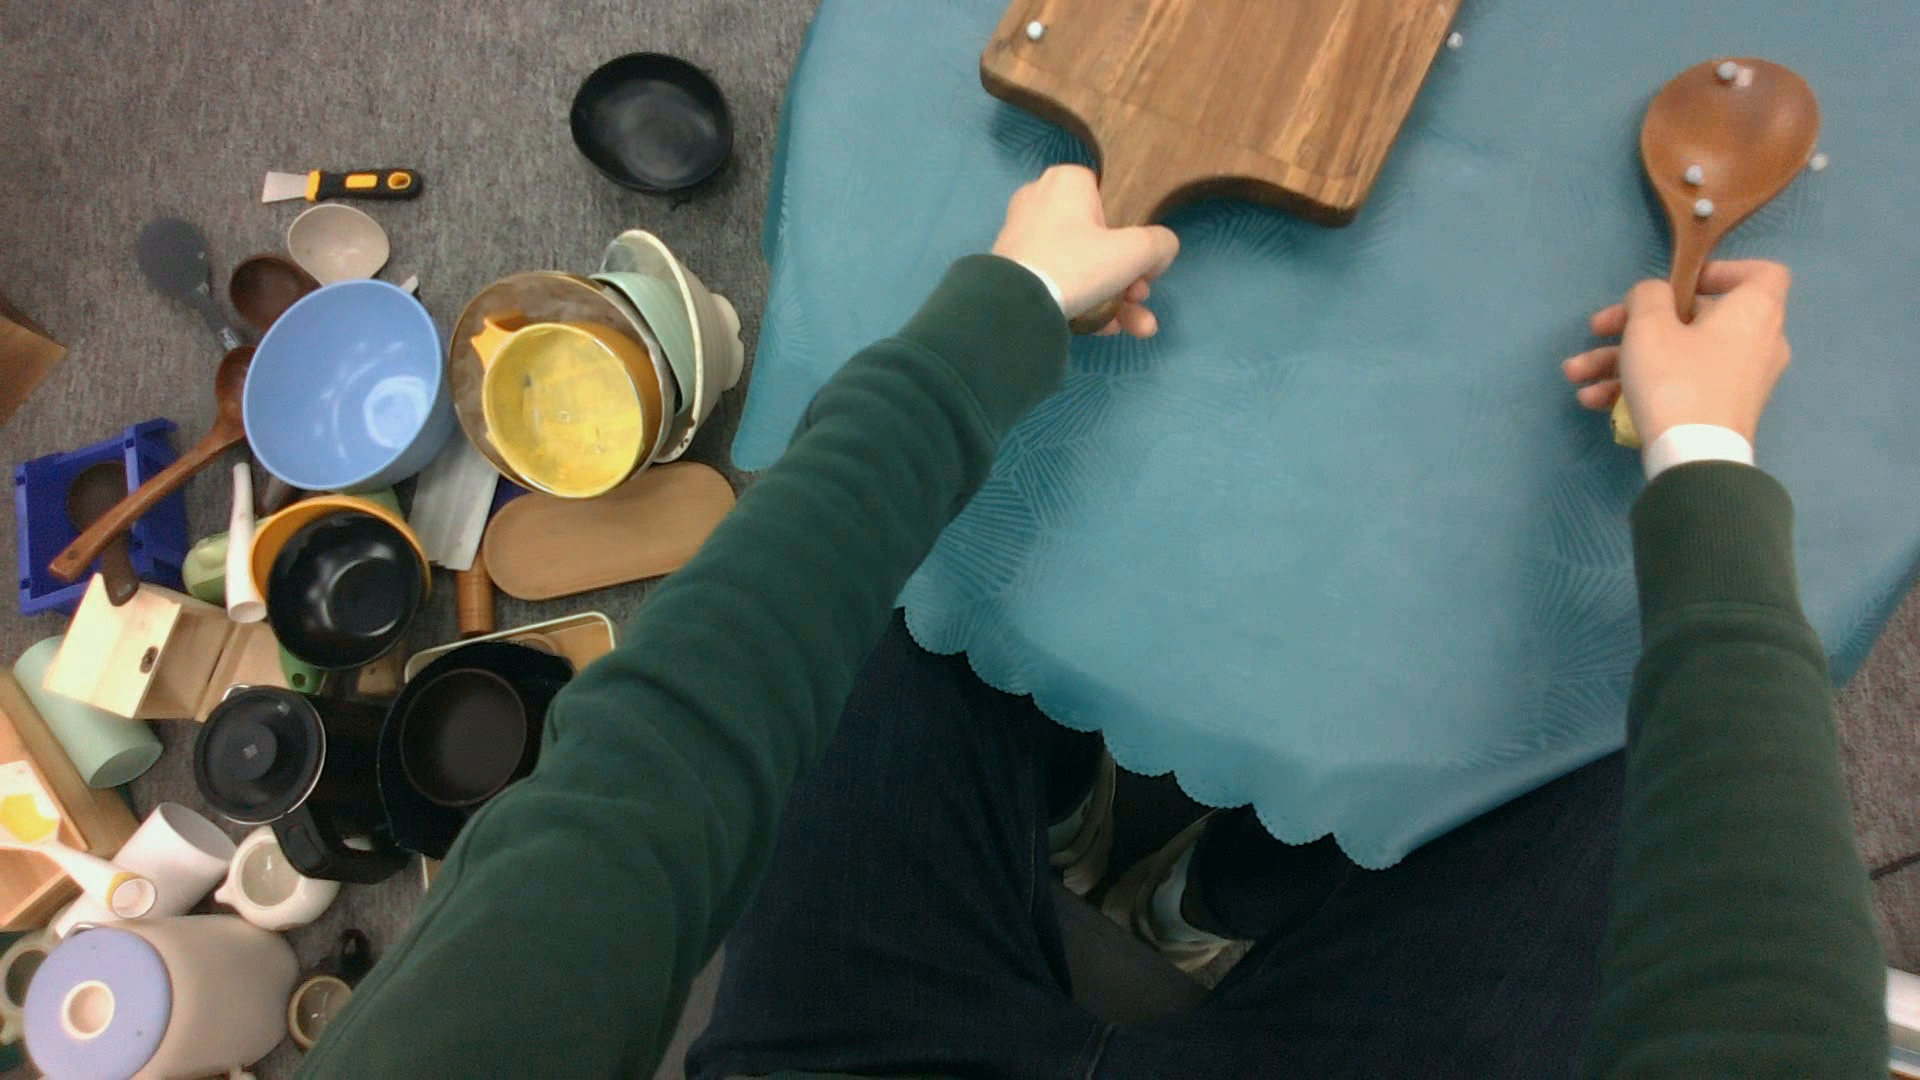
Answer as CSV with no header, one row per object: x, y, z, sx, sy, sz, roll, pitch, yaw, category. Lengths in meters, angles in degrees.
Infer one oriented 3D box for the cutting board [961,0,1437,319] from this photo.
0.118,-0.257,0.672,0.201,0.023,0.353,25,74,10,cutting board

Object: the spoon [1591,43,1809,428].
0.325,-0.141,0.623,0.075,0.017,0.216,16,68,29,spoon
